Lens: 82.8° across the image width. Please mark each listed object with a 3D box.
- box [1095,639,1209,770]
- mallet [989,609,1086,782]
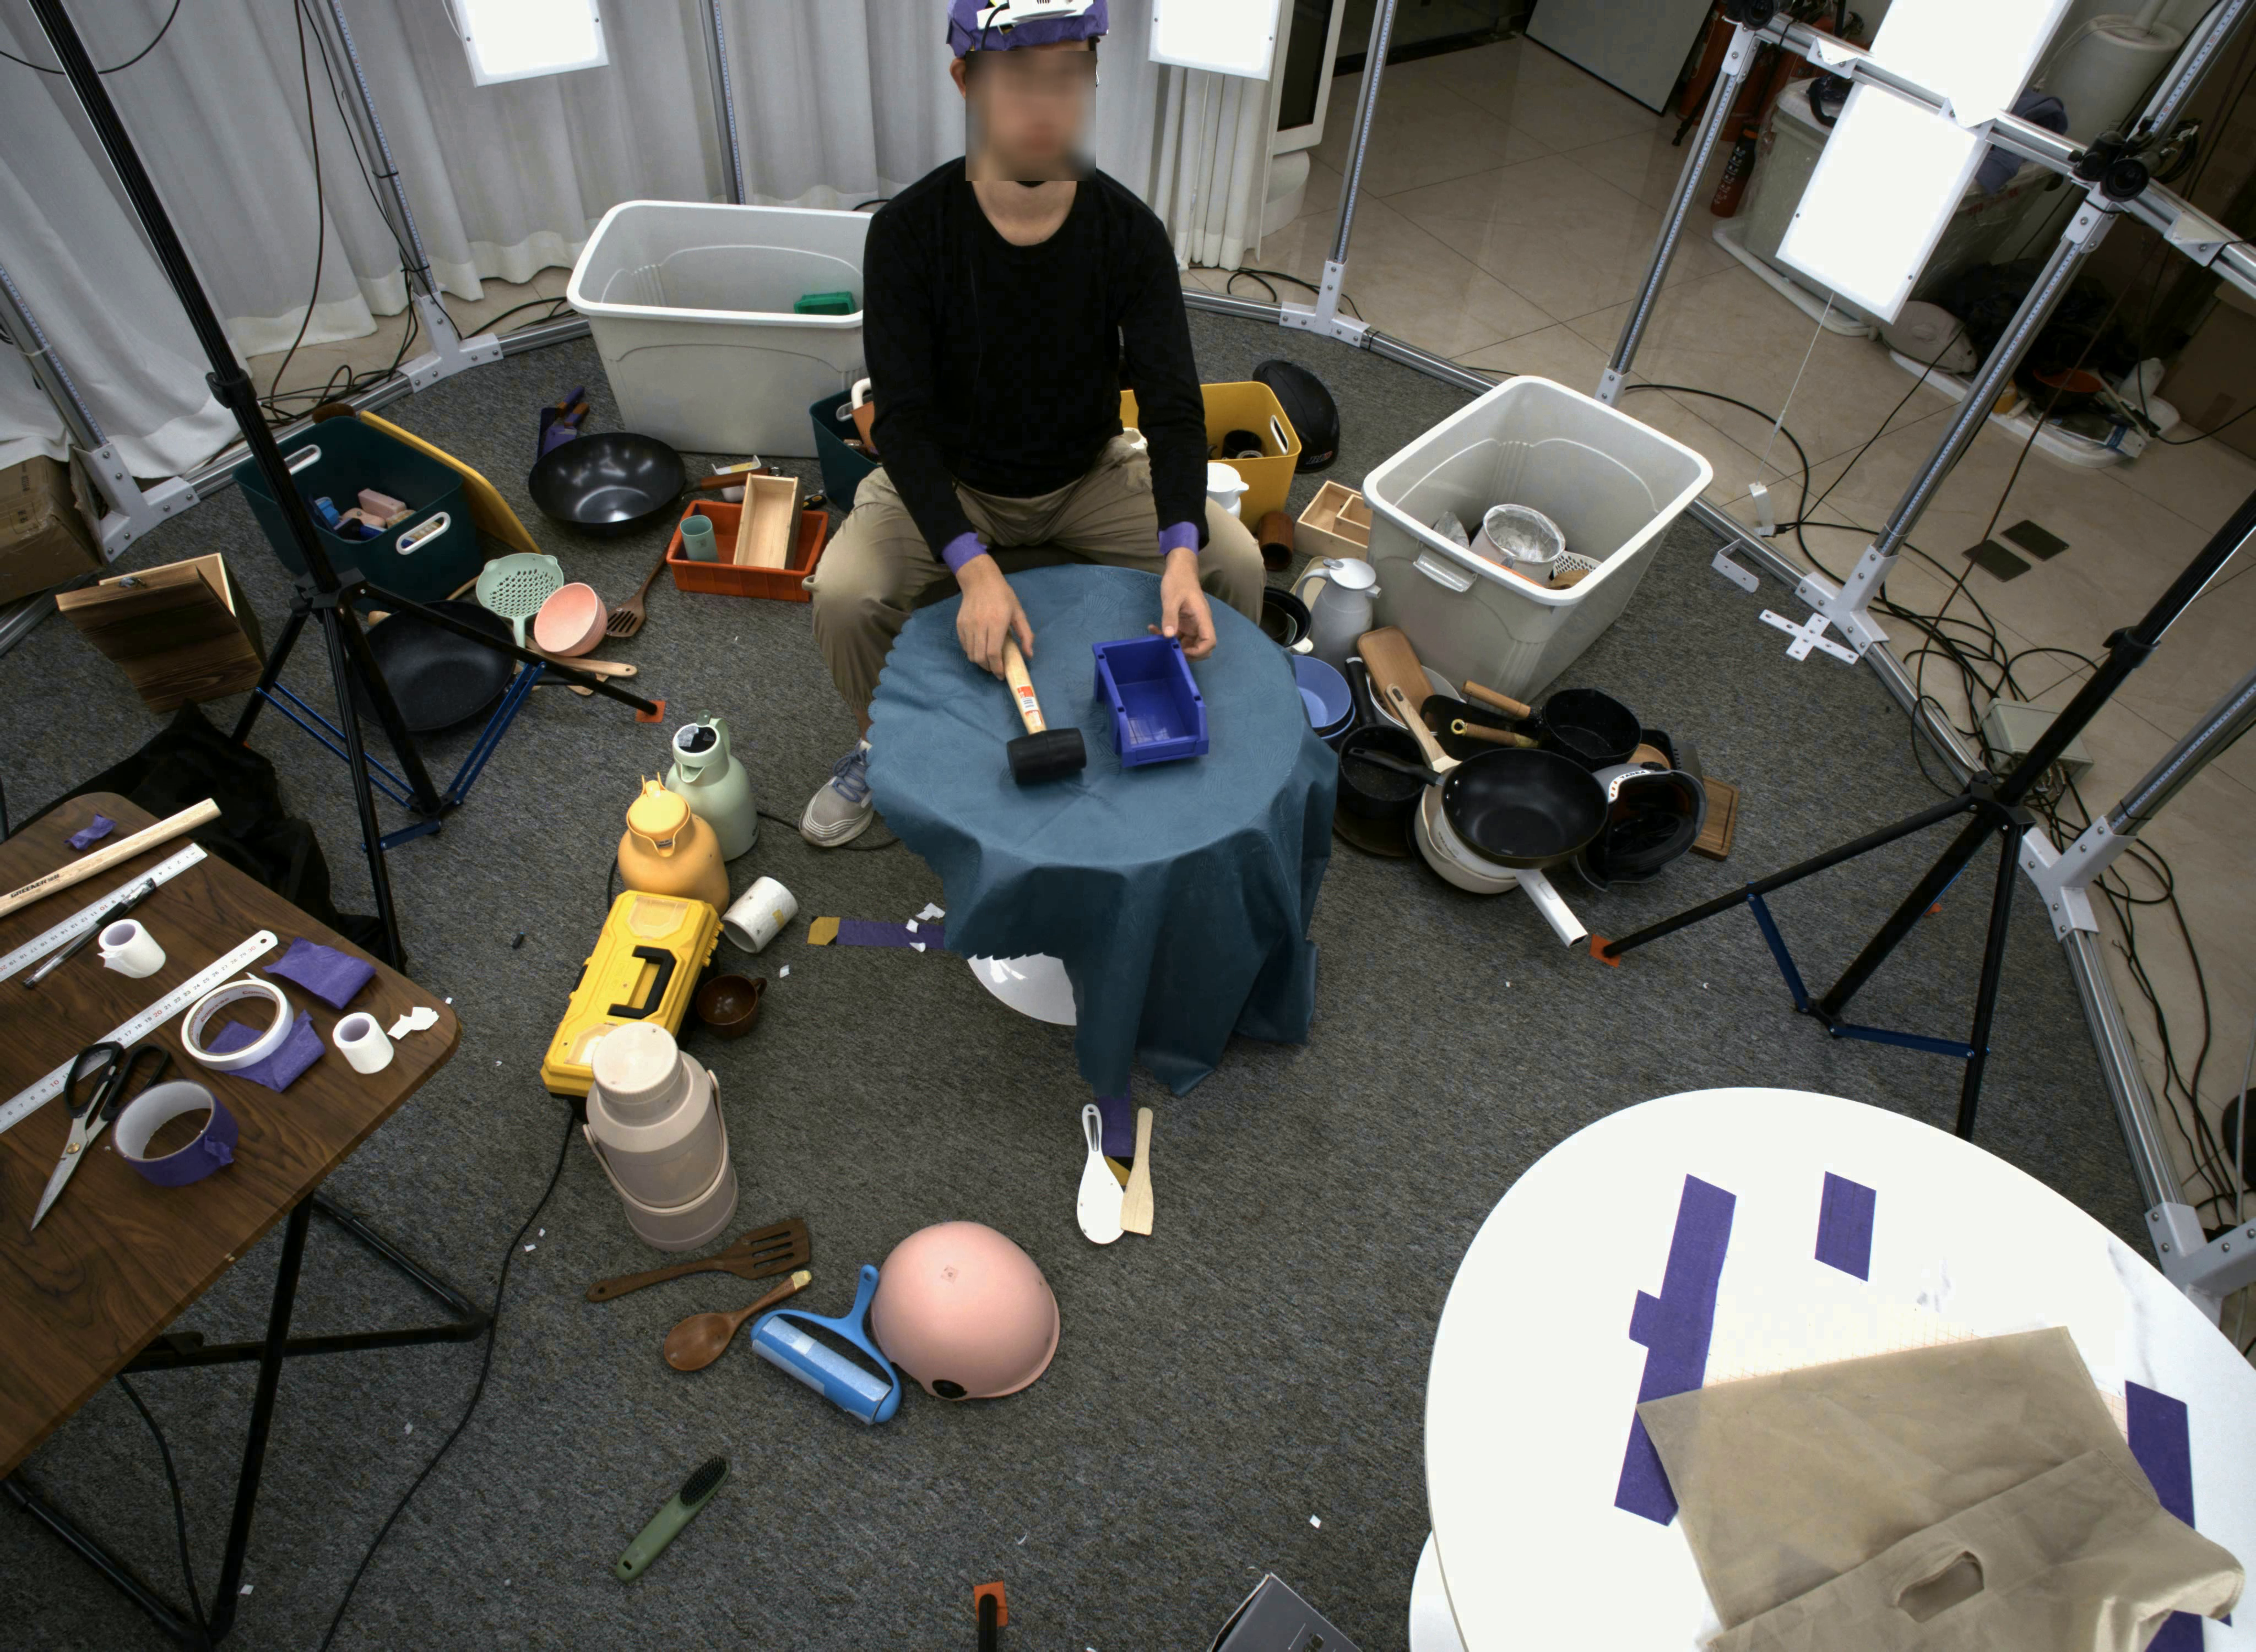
[{"bbox_3d":[0.033,-0.163,1.760,0.124,0.080,0.184,-8,47,-11],"label":"box"},{"bbox_3d":[-0.146,-0.197,1.792,0.102,0.063,0.347,-9,50,-12],"label":"mallet"}]
